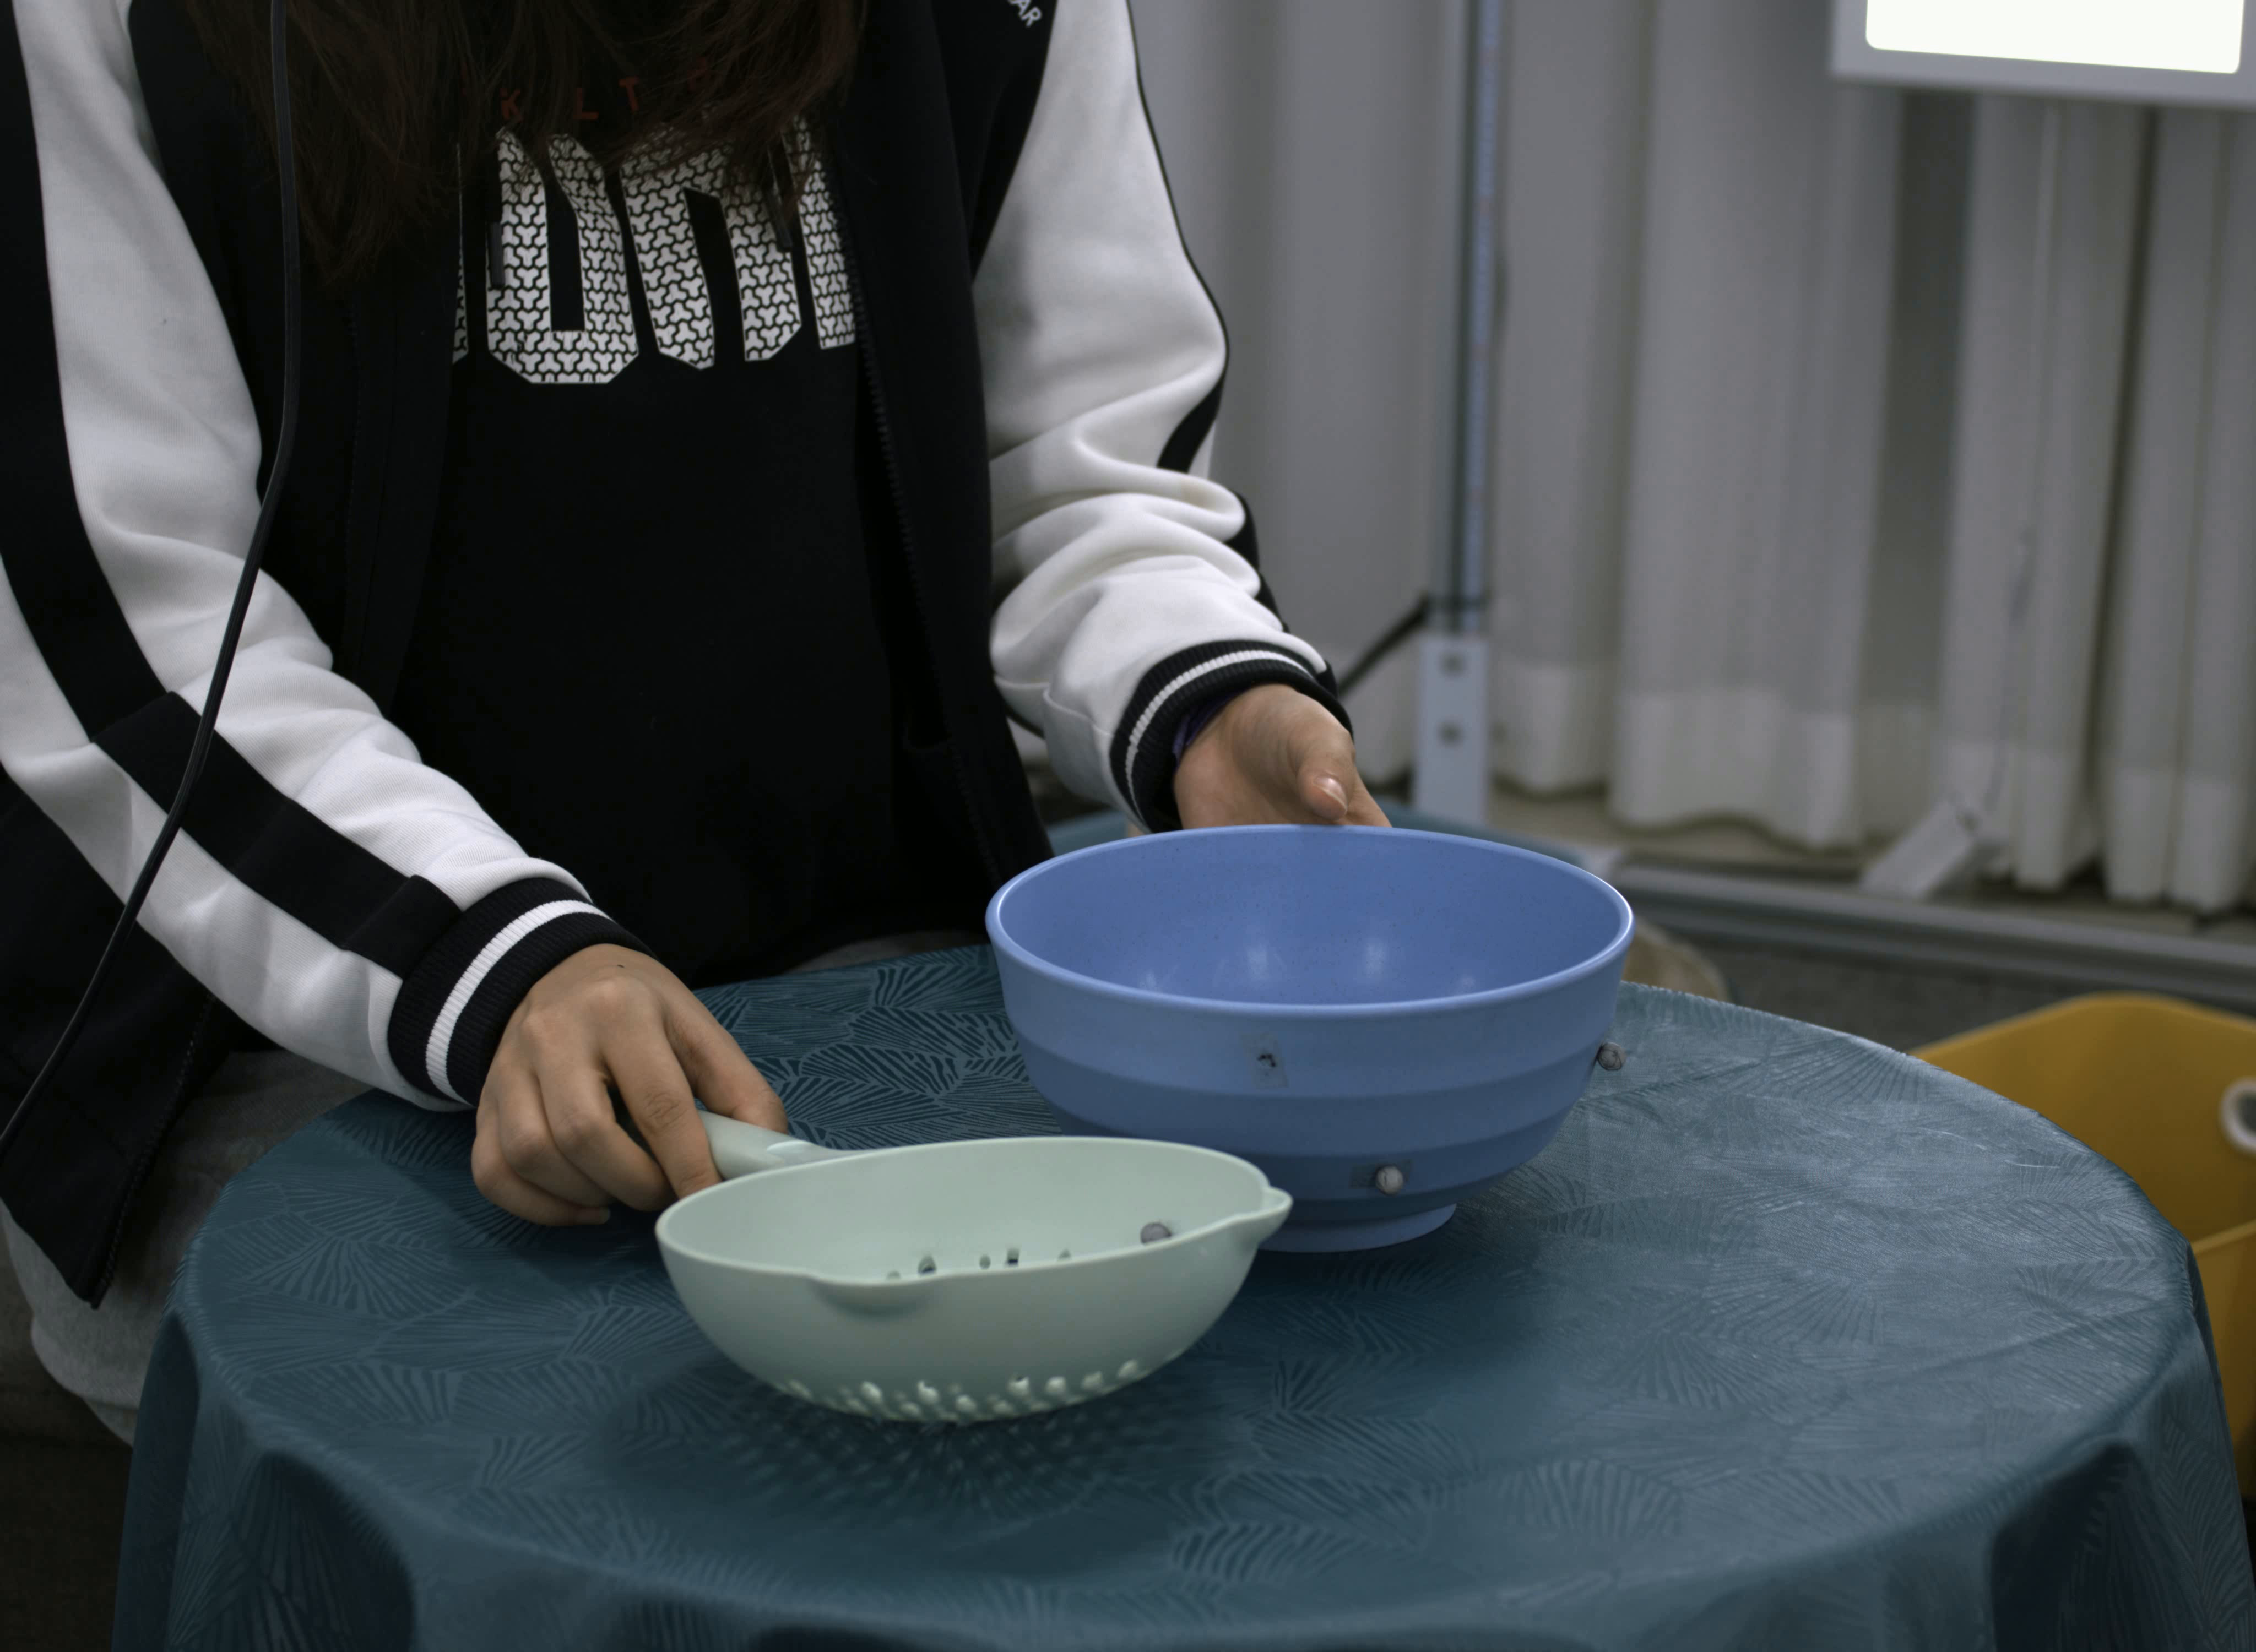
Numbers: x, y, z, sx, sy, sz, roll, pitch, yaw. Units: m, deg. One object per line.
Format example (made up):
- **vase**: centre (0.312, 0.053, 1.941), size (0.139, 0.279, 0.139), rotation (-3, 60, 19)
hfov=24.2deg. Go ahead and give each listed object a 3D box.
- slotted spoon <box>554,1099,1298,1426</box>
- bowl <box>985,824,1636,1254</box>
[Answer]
- **slotted spoon**: centre (-0.091, 0.109, 1.522), size (0.170, 0.076, 0.354), rotation (-7, 15, -29)
- **bowl**: centre (0.055, 0.070, 1.598), size (0.196, 0.096, 0.195), rotation (0, 16, 1)
